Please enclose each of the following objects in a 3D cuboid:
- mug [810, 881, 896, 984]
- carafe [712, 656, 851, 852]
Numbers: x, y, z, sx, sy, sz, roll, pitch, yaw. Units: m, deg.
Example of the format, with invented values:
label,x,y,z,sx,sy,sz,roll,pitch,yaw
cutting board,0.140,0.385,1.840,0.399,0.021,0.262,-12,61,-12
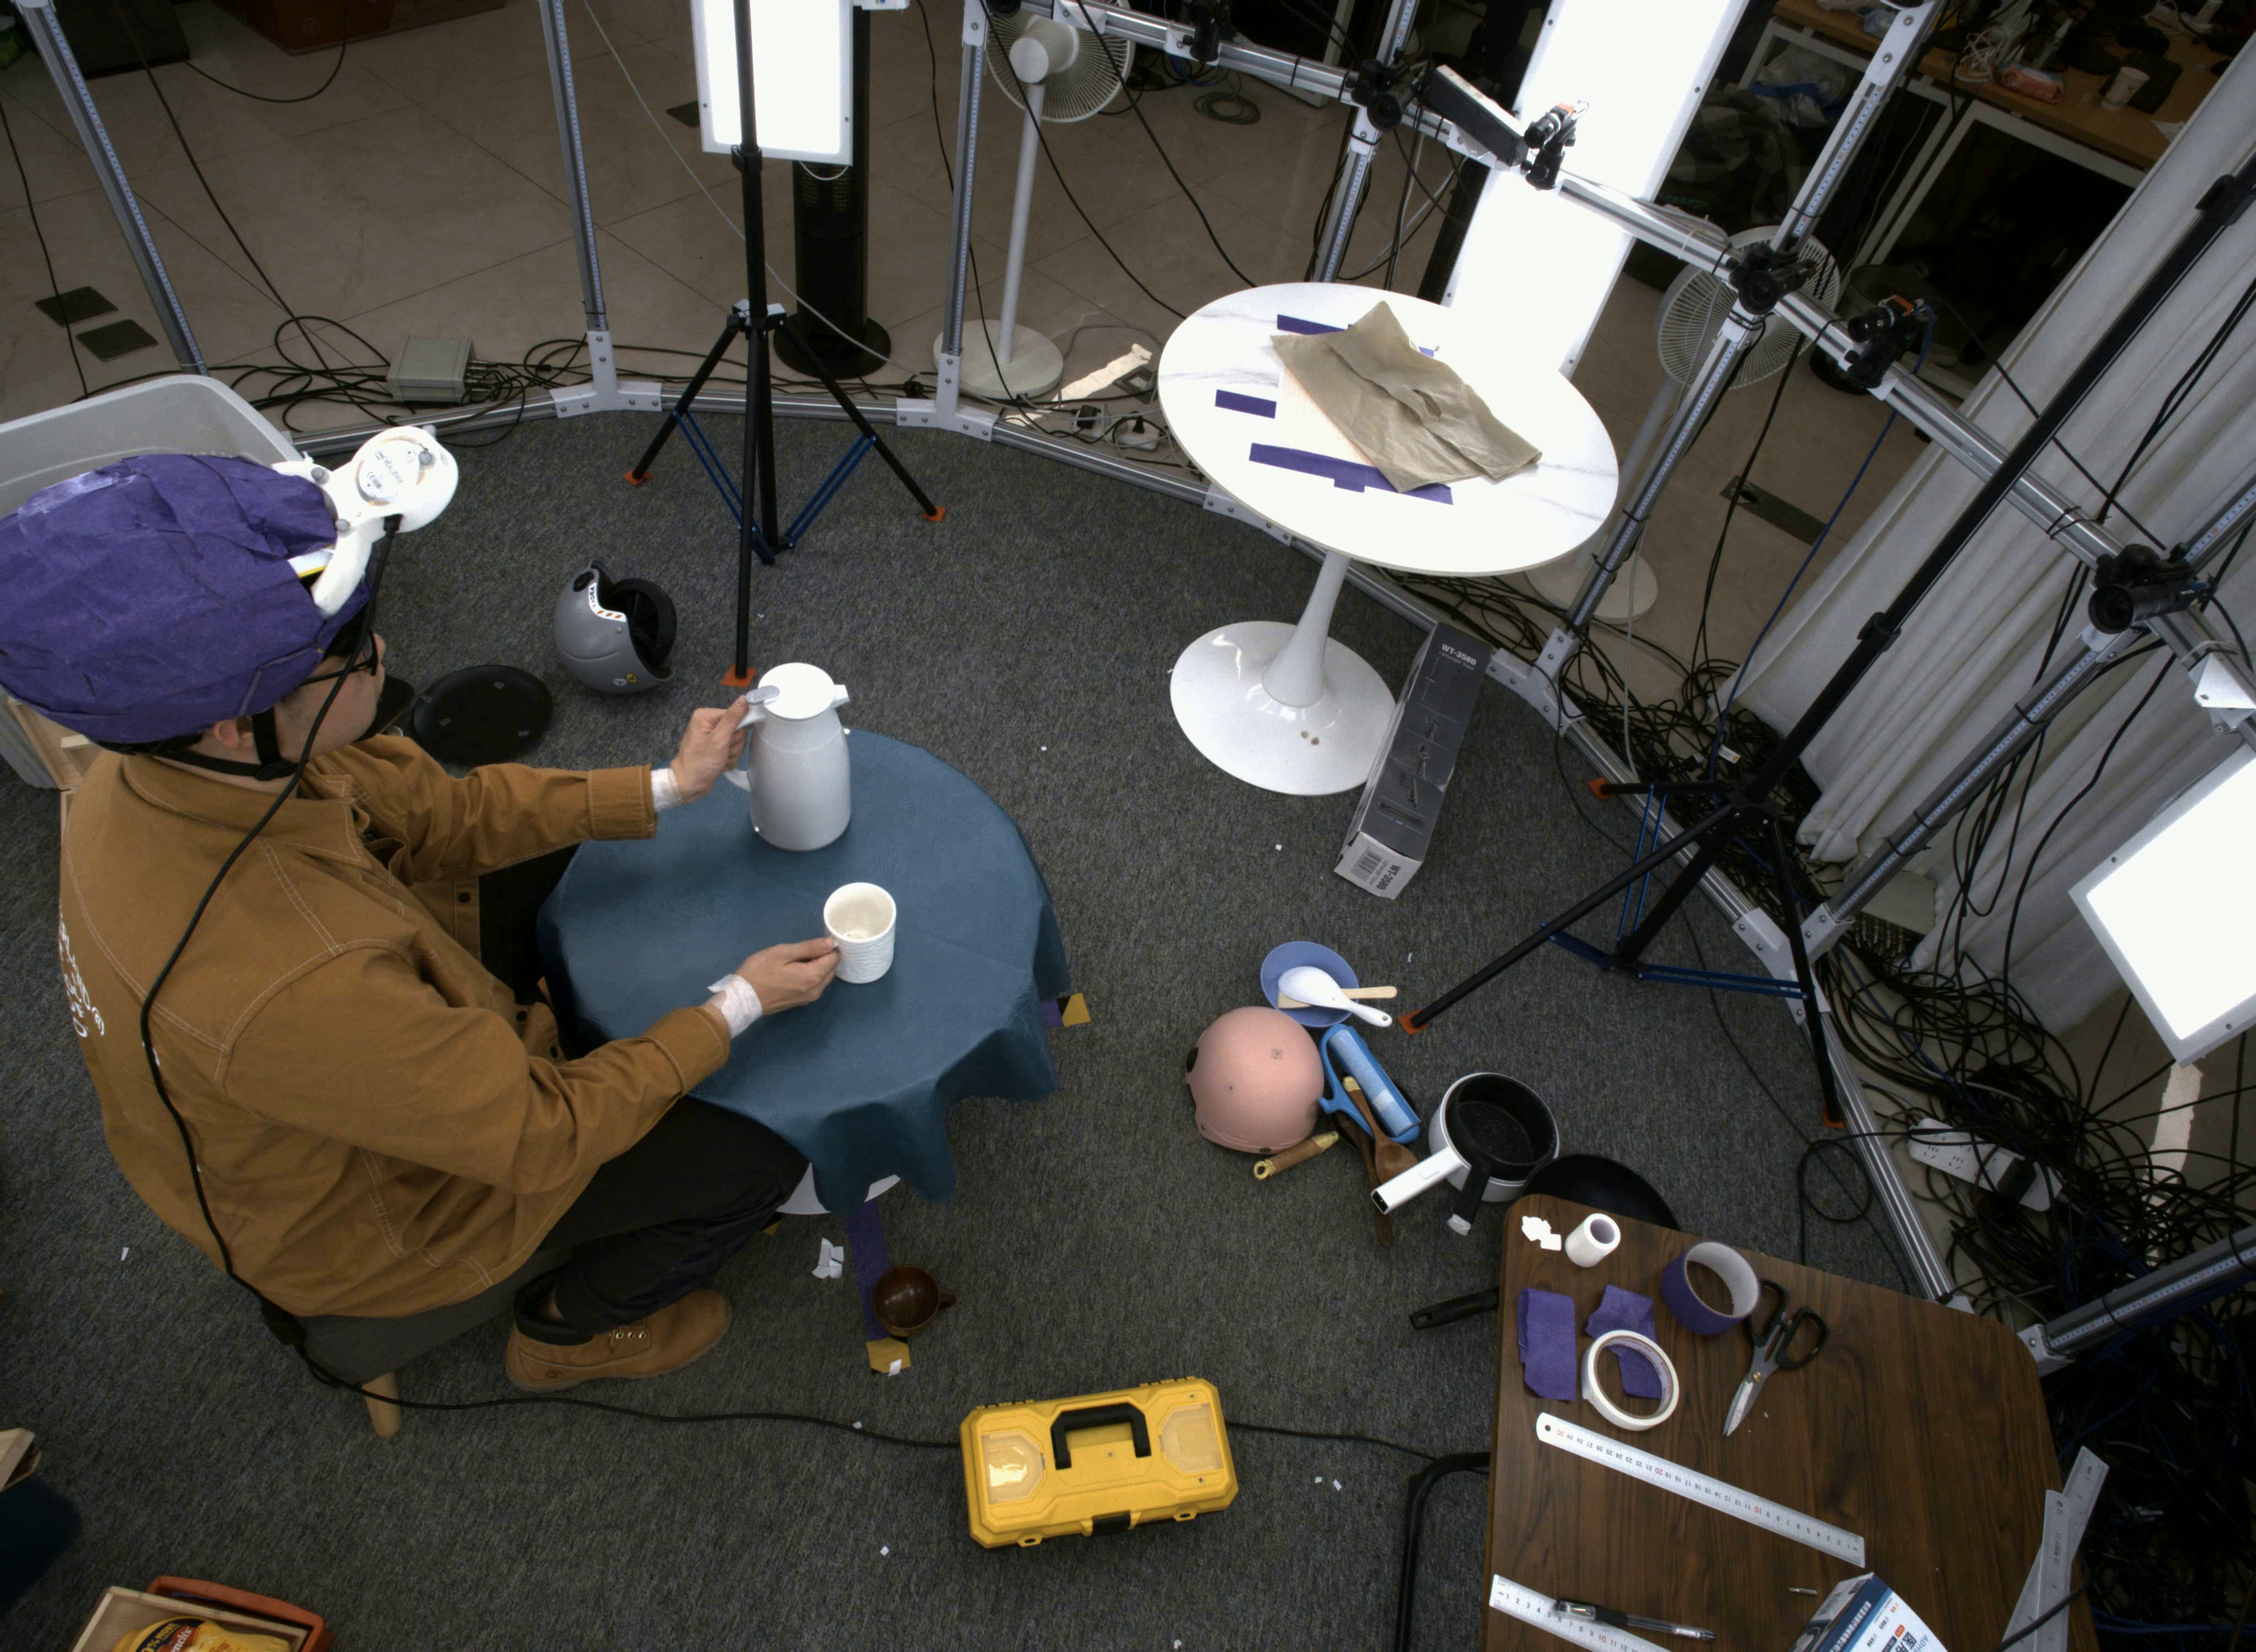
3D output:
label,x,y,z,sx,sy,sz,roll,pitch,yaw
mug,-0.336,0.139,1.573,0.083,0.104,0.118,37,54,16
carafe,-0.435,-0.091,1.625,0.168,0.254,0.129,-14,57,-21
